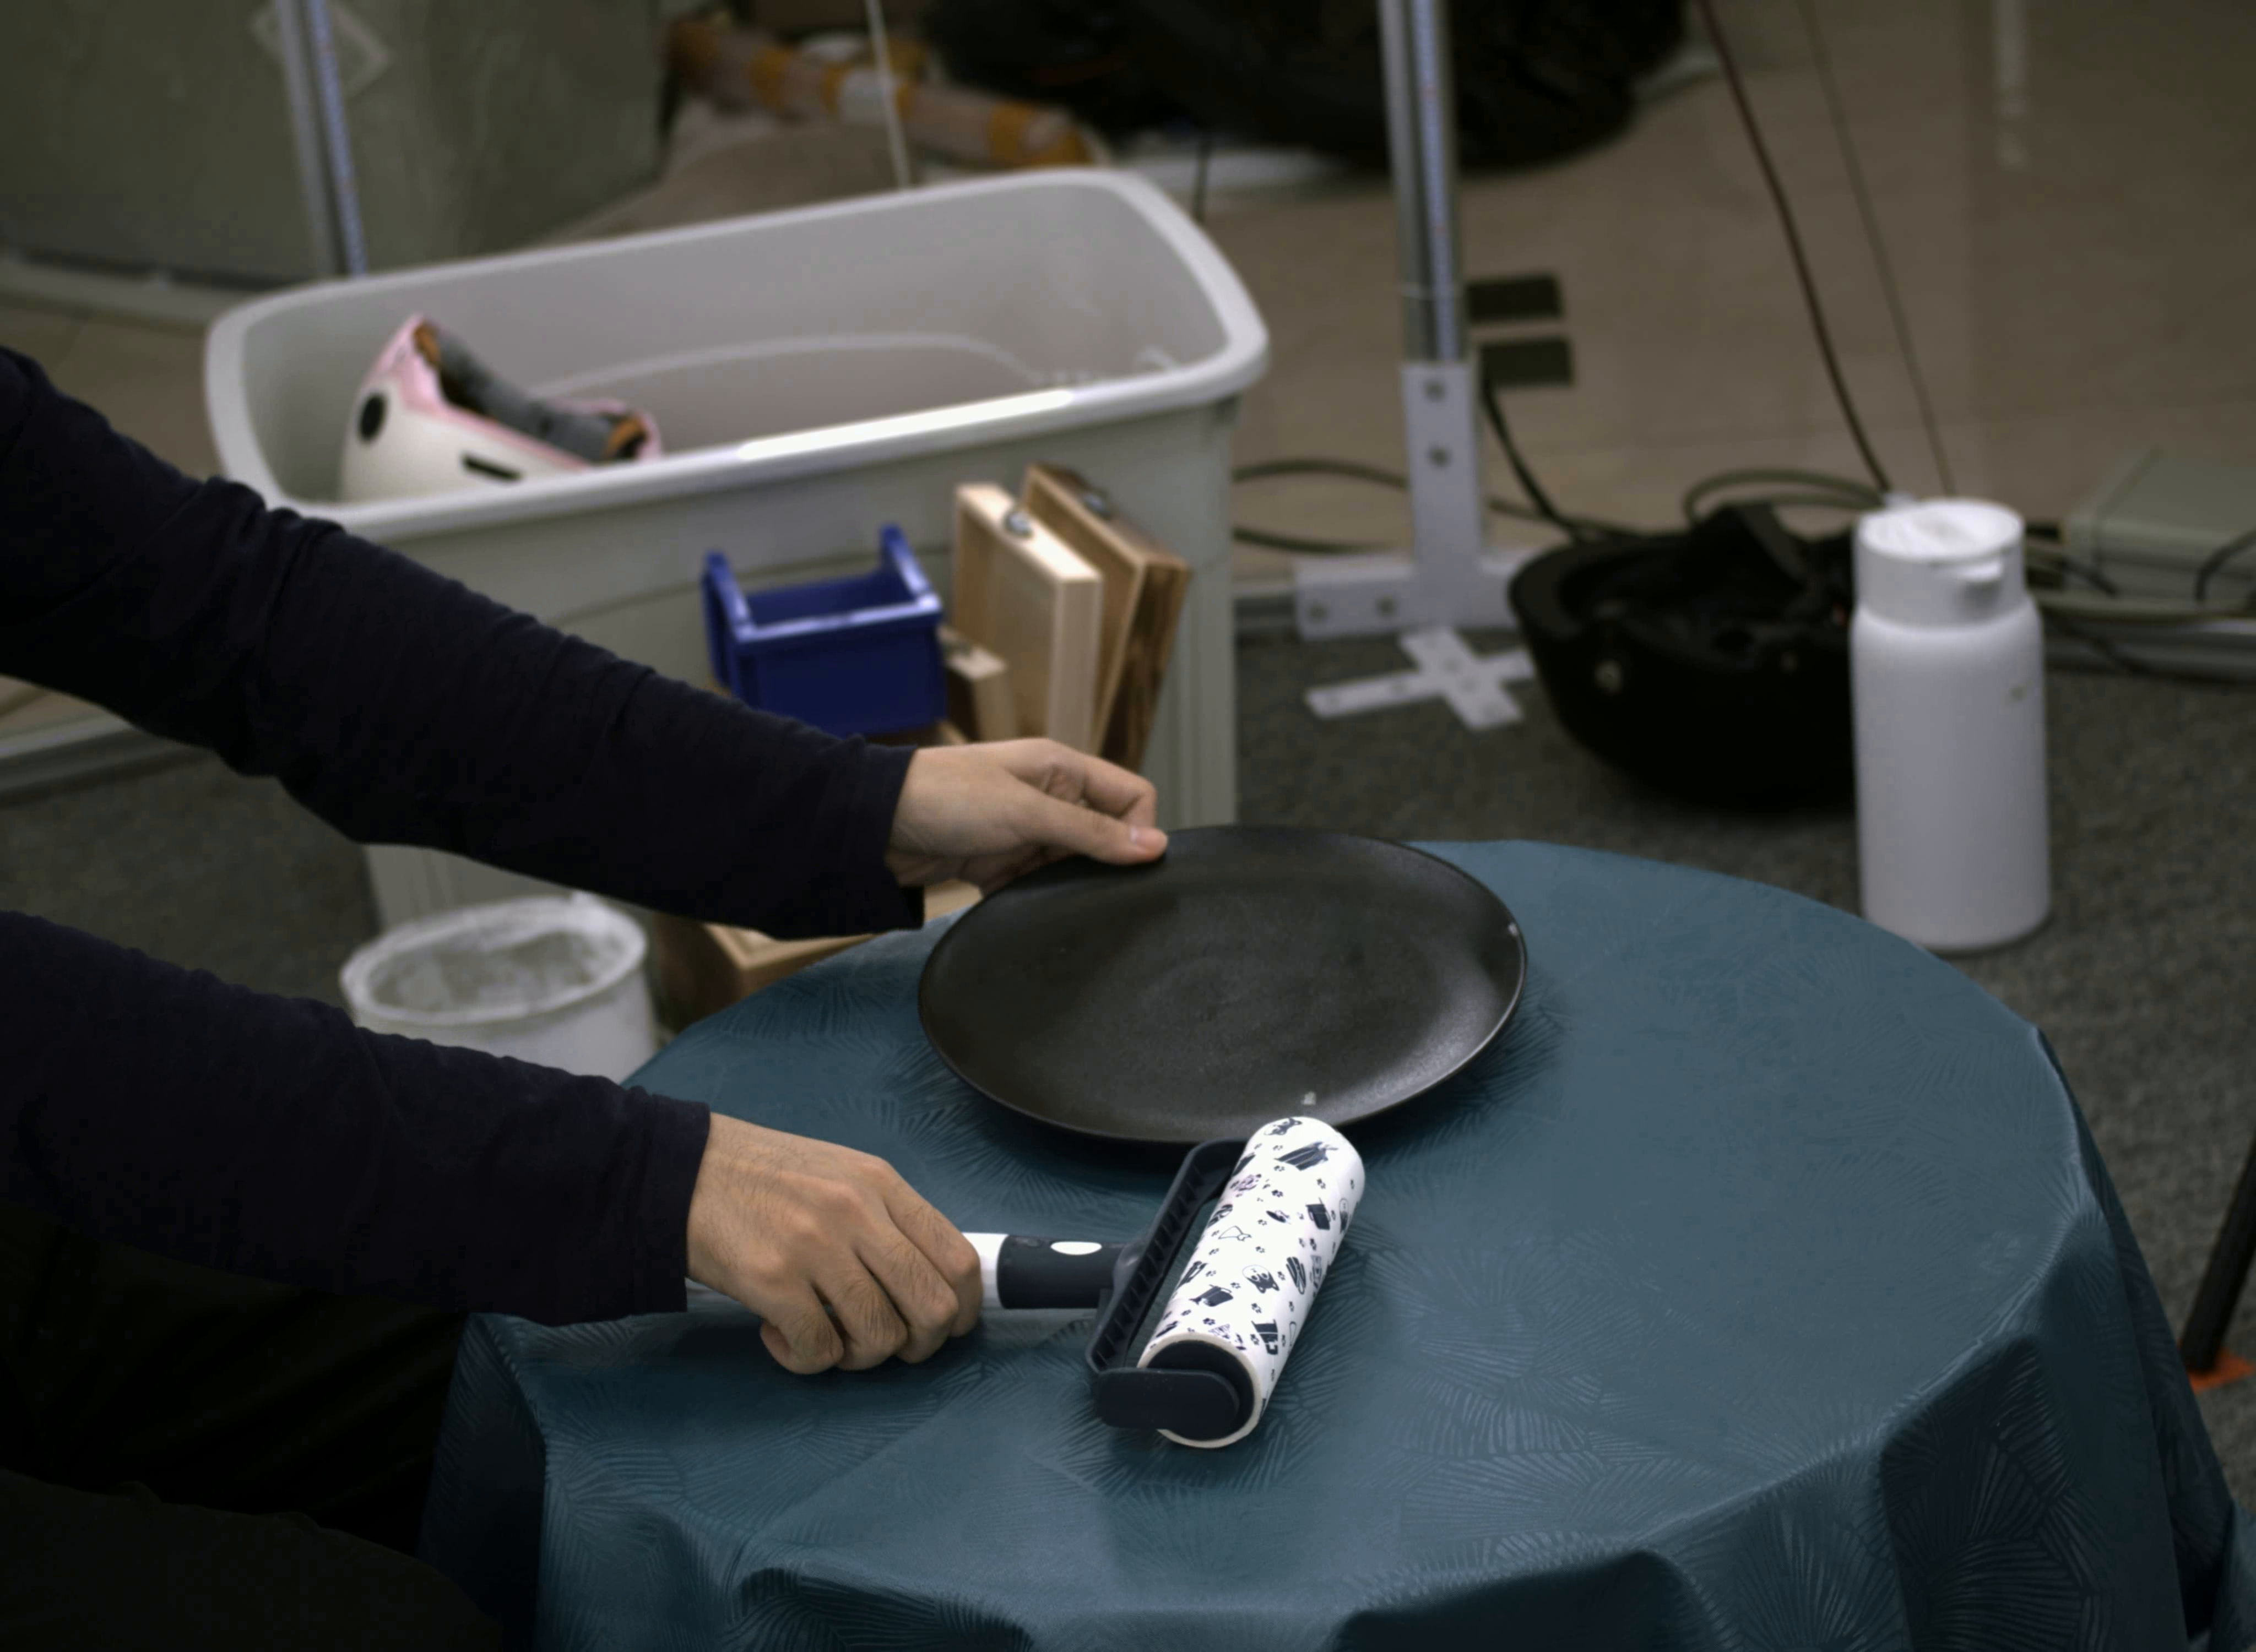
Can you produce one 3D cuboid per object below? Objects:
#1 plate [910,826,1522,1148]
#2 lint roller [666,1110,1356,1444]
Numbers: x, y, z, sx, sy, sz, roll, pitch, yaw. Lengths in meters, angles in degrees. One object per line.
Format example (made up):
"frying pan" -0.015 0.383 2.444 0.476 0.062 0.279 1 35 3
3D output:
"plate" 0.035 0.069 2.249 0.244 0.024 0.240 -4 30 2
"lint roller" -0.053 0.162 2.061 0.246 0.051 0.174 -1 26 17
